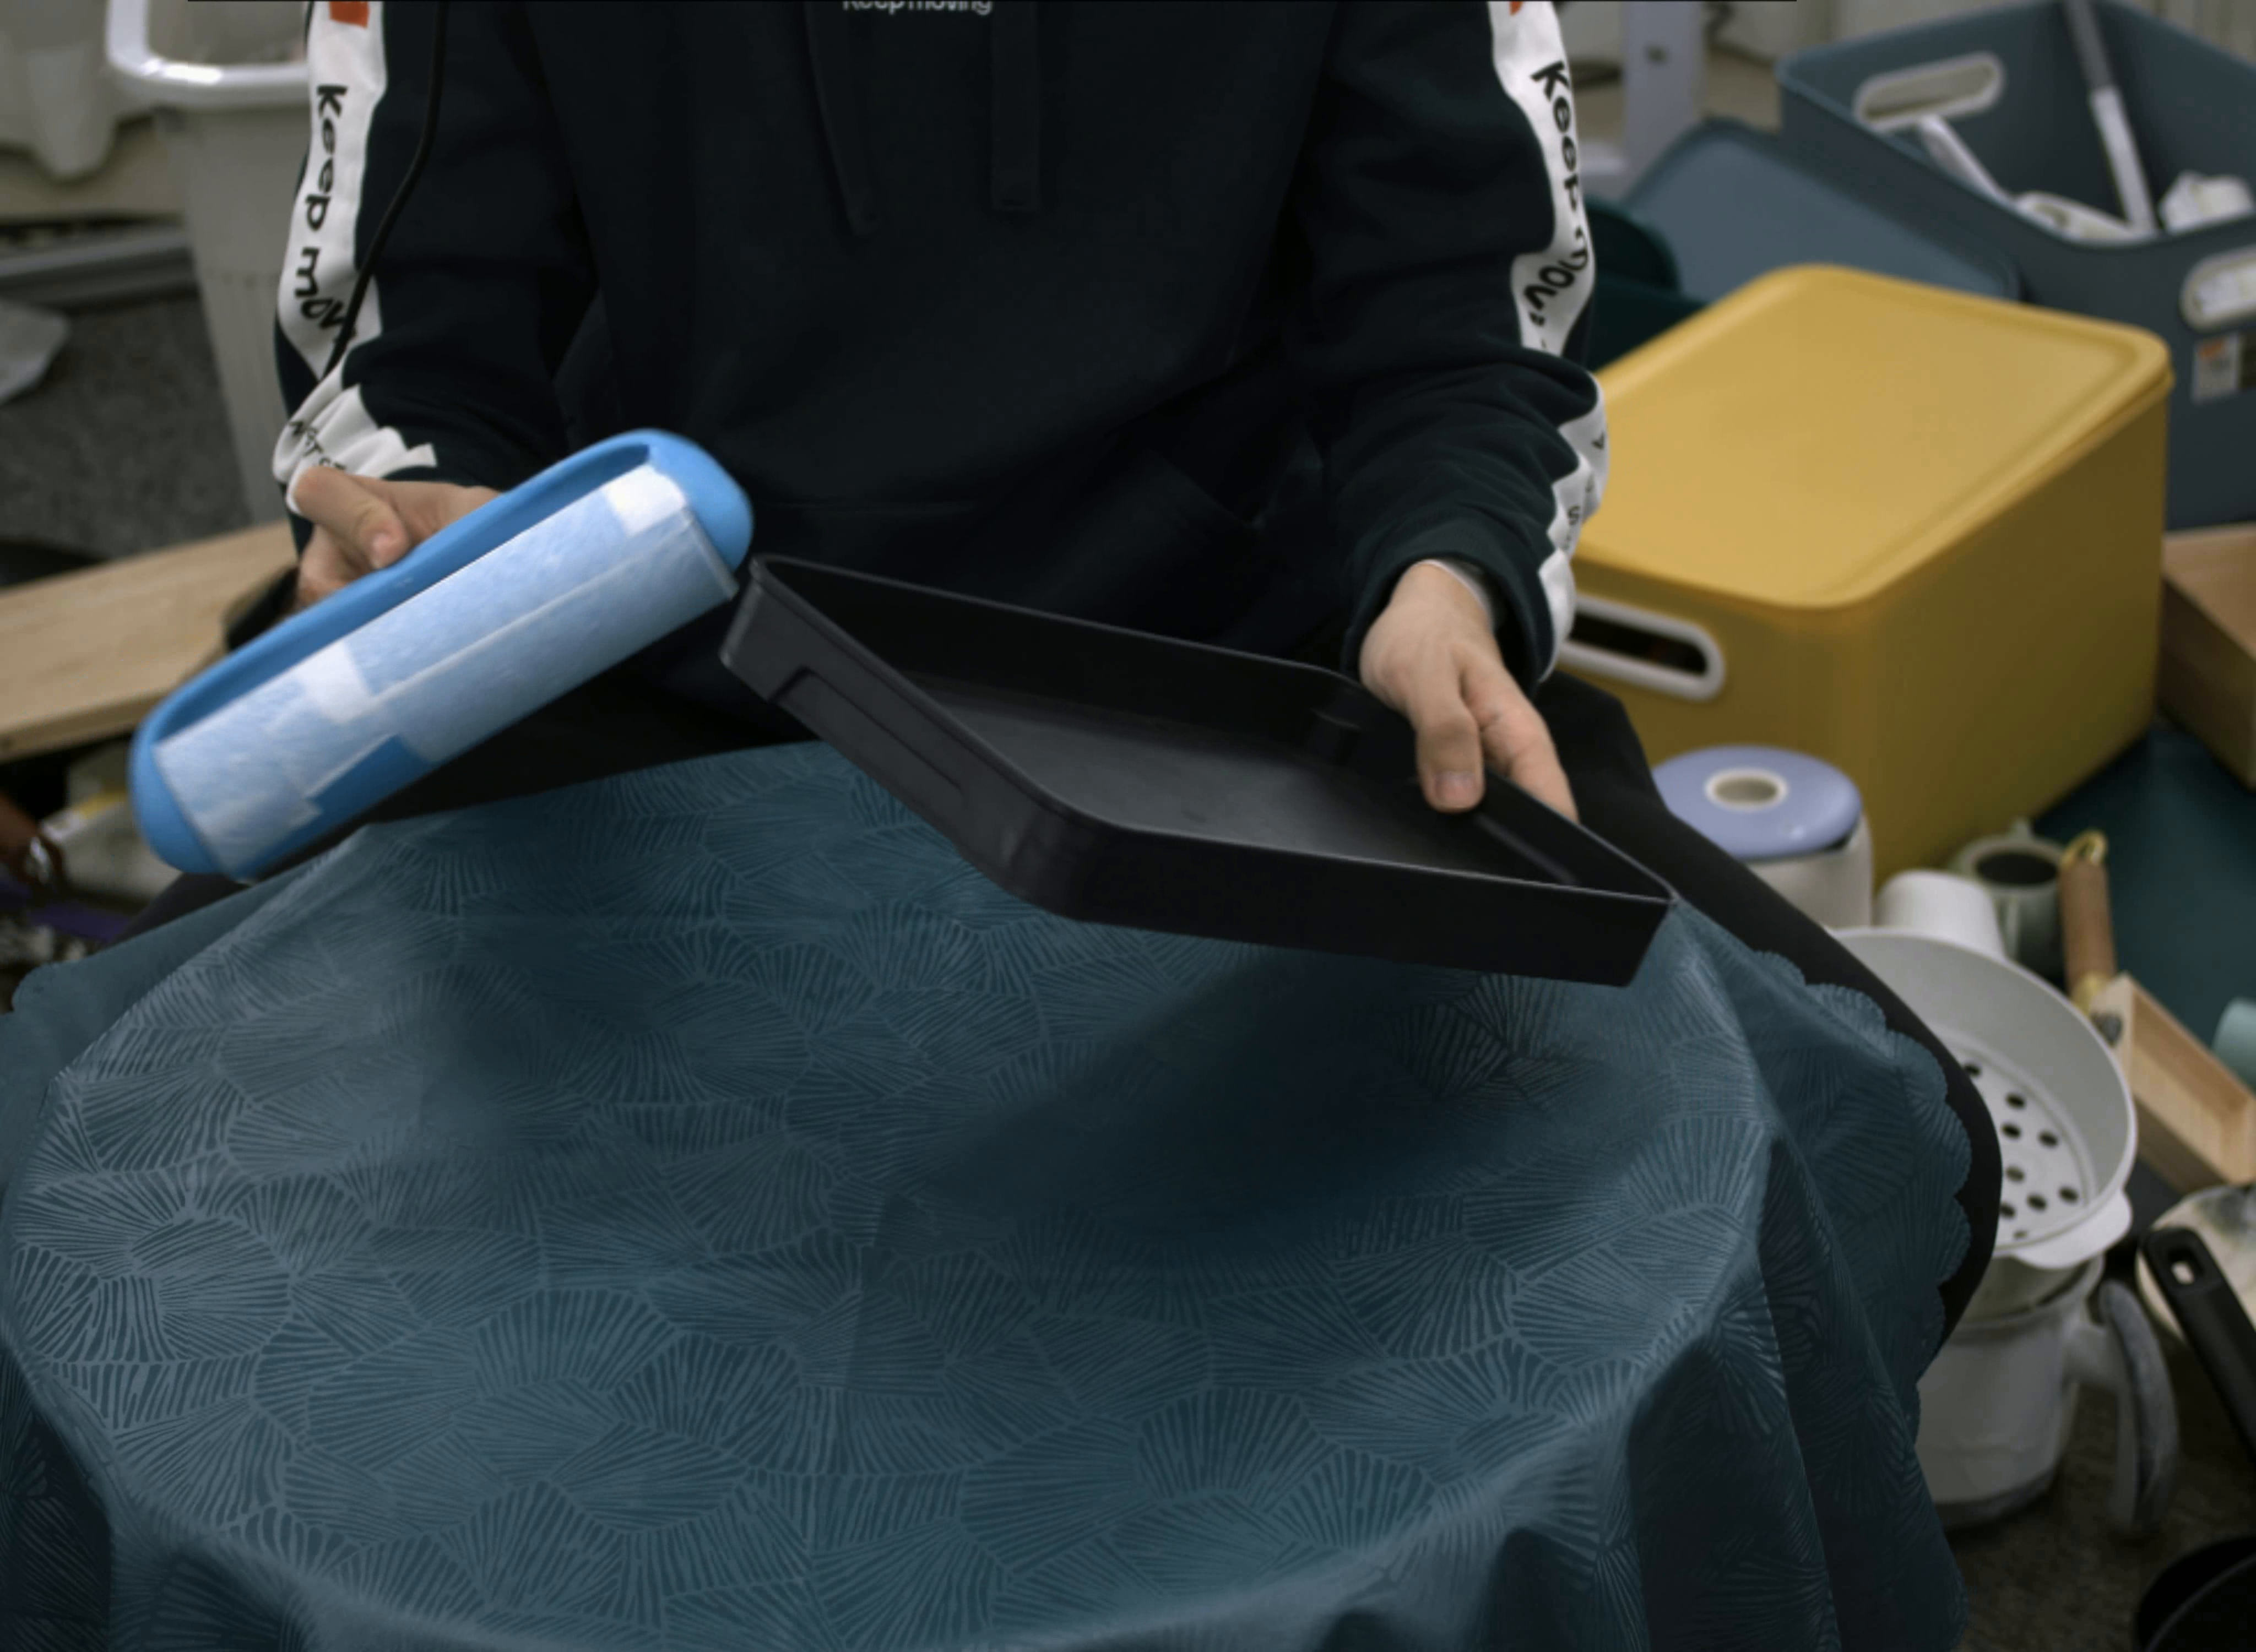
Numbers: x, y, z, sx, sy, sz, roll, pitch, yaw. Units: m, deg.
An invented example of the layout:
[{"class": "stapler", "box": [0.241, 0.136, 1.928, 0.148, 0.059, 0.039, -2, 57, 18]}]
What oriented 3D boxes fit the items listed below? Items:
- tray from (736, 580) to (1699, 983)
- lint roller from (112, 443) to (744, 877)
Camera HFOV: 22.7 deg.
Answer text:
[{"class": "tray", "box": [0.033, -0.012, 1.839, 0.185, 0.037, 0.319, 35, 18, 37]}, {"class": "lint roller", "box": [-0.241, -0.062, 1.923, 0.229, 0.068, 0.181, -30, 14, -5]}]
